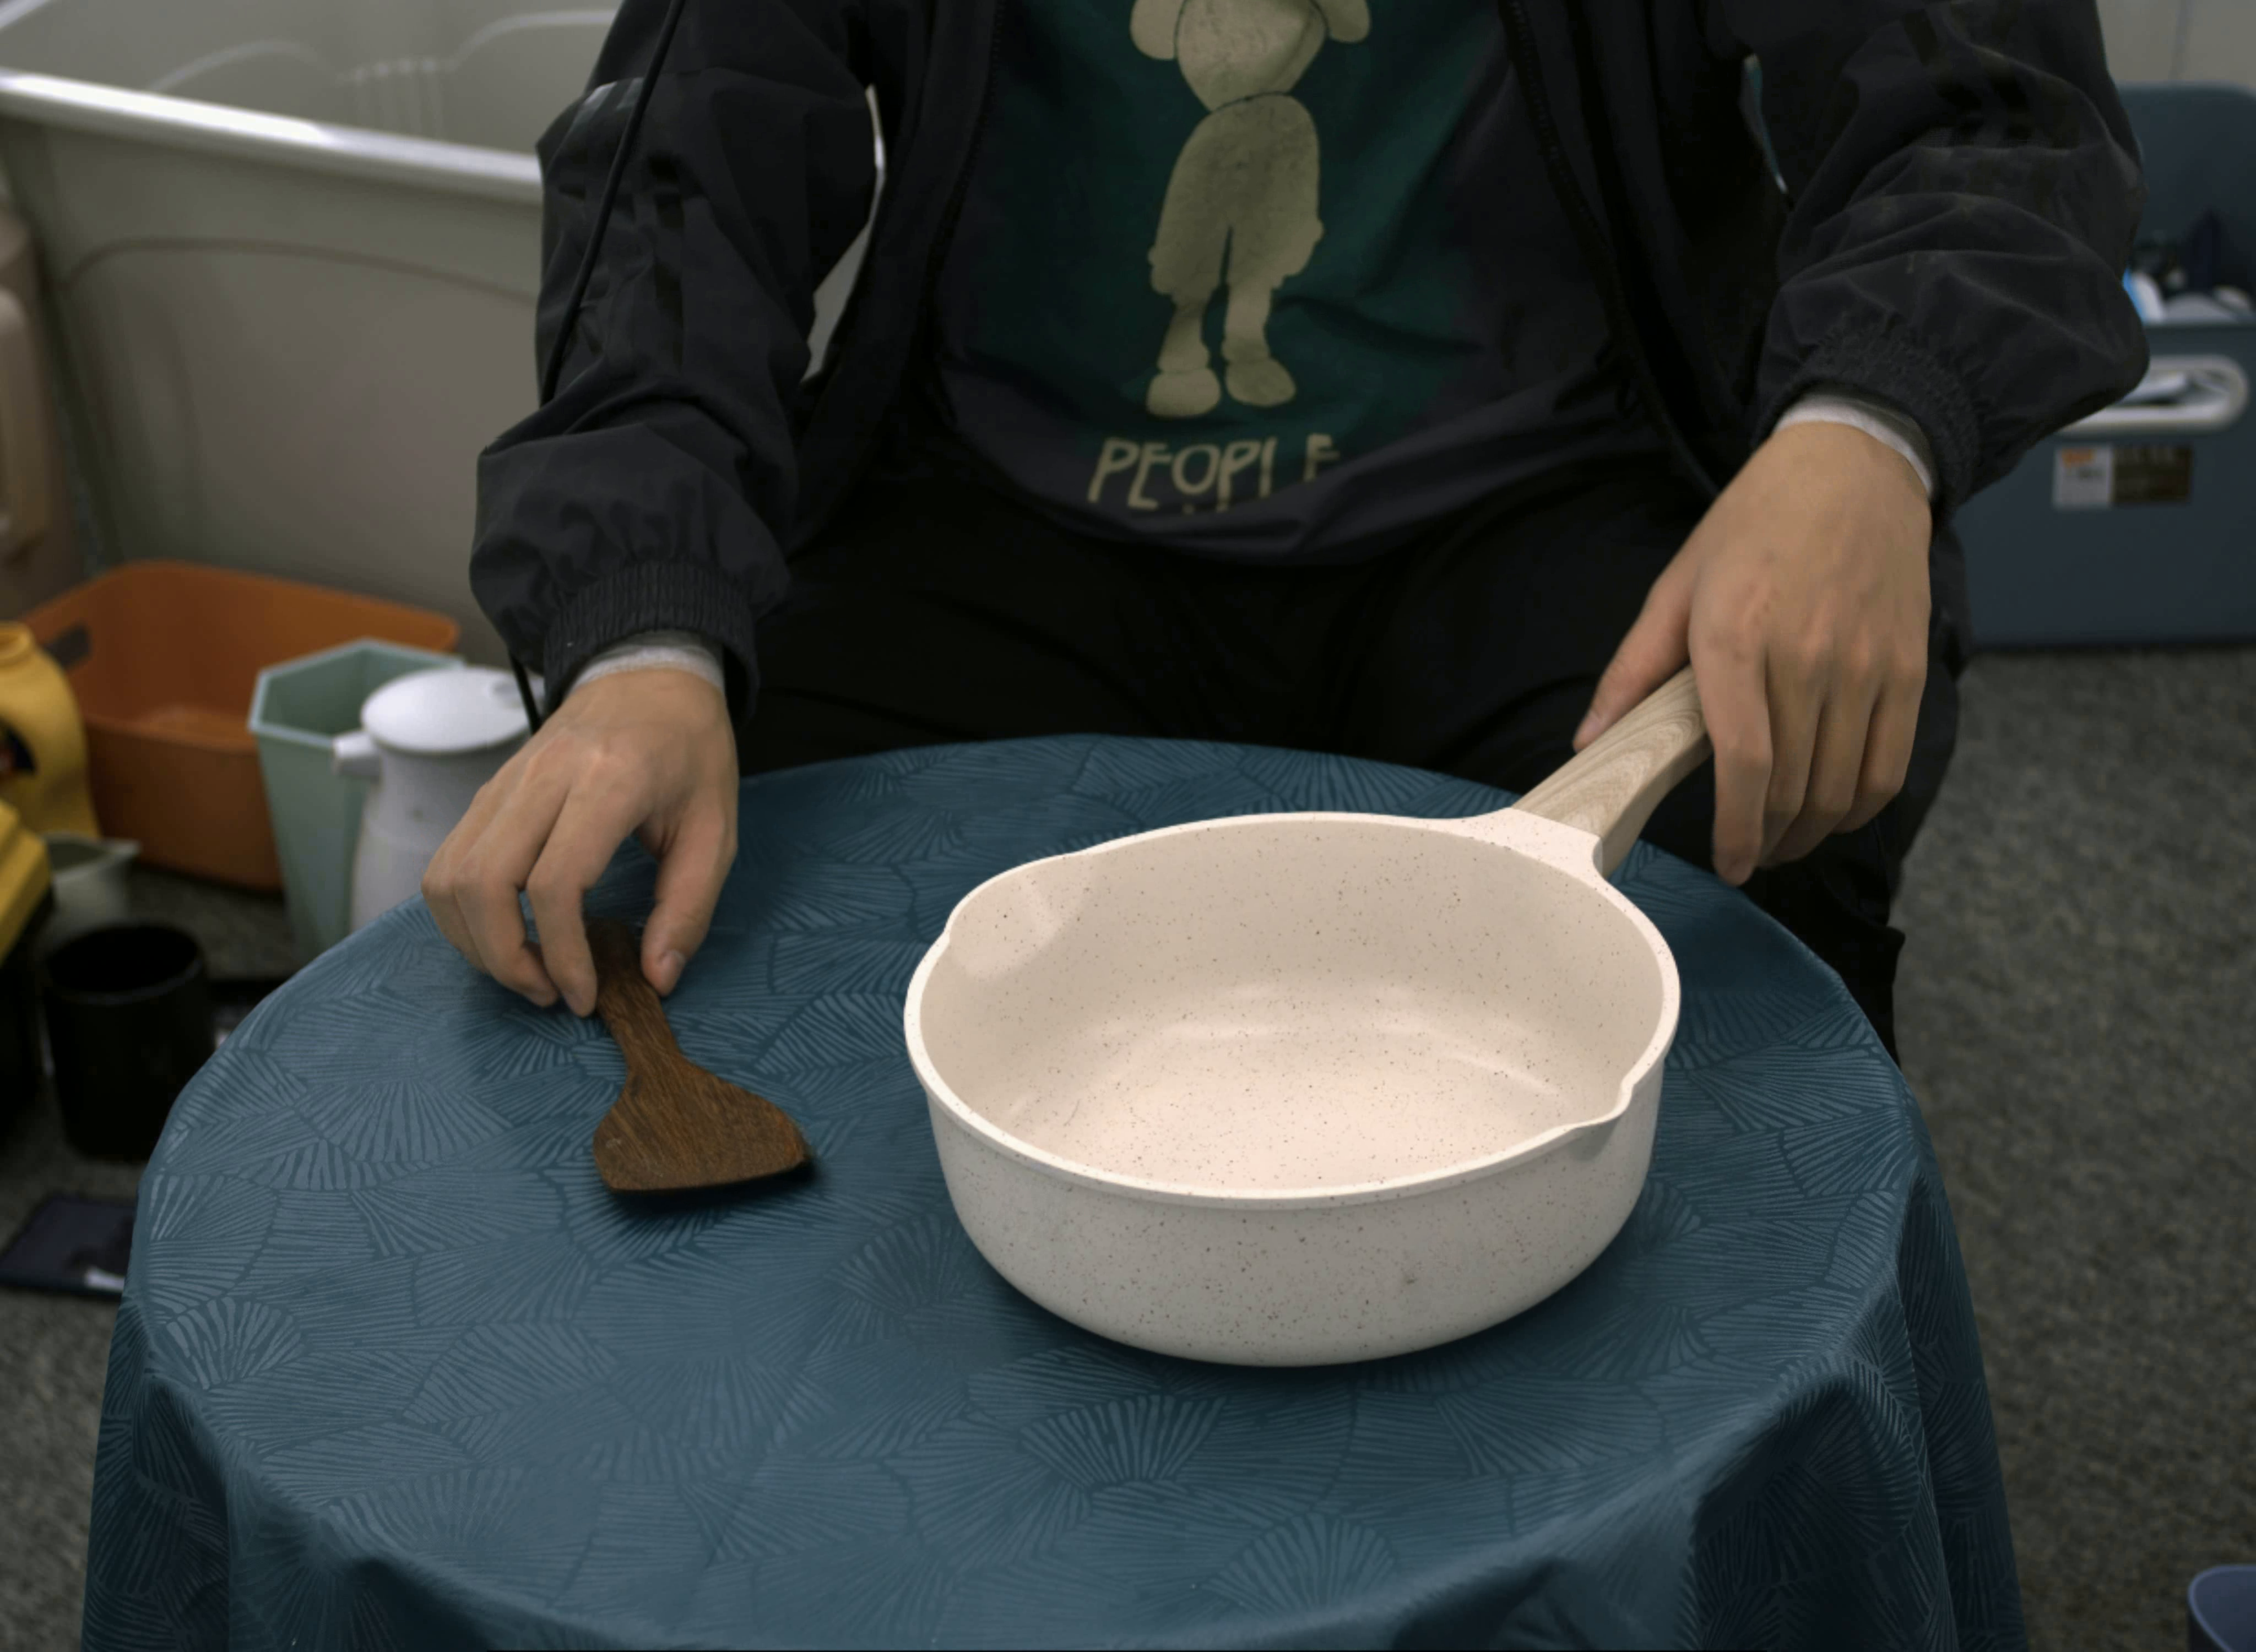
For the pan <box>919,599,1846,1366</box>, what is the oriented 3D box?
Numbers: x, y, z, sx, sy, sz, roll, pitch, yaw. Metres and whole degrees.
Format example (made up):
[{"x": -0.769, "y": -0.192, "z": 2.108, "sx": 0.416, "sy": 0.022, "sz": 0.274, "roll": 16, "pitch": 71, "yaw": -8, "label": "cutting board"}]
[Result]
[{"x": 0.117, "y": 0.048, "z": 1.884, "sx": 0.262, "sy": 0.101, "sz": 0.441, "roll": 17, "pitch": 33, "yaw": 36, "label": "pan"}]

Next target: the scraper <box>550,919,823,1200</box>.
[{"x": -0.165, "y": 0.080, "z": 1.946, "sx": 0.076, "sy": 0.011, "sz": 0.213, "roll": -8, "pitch": 26, "yaw": -16, "label": "scraper"}]
